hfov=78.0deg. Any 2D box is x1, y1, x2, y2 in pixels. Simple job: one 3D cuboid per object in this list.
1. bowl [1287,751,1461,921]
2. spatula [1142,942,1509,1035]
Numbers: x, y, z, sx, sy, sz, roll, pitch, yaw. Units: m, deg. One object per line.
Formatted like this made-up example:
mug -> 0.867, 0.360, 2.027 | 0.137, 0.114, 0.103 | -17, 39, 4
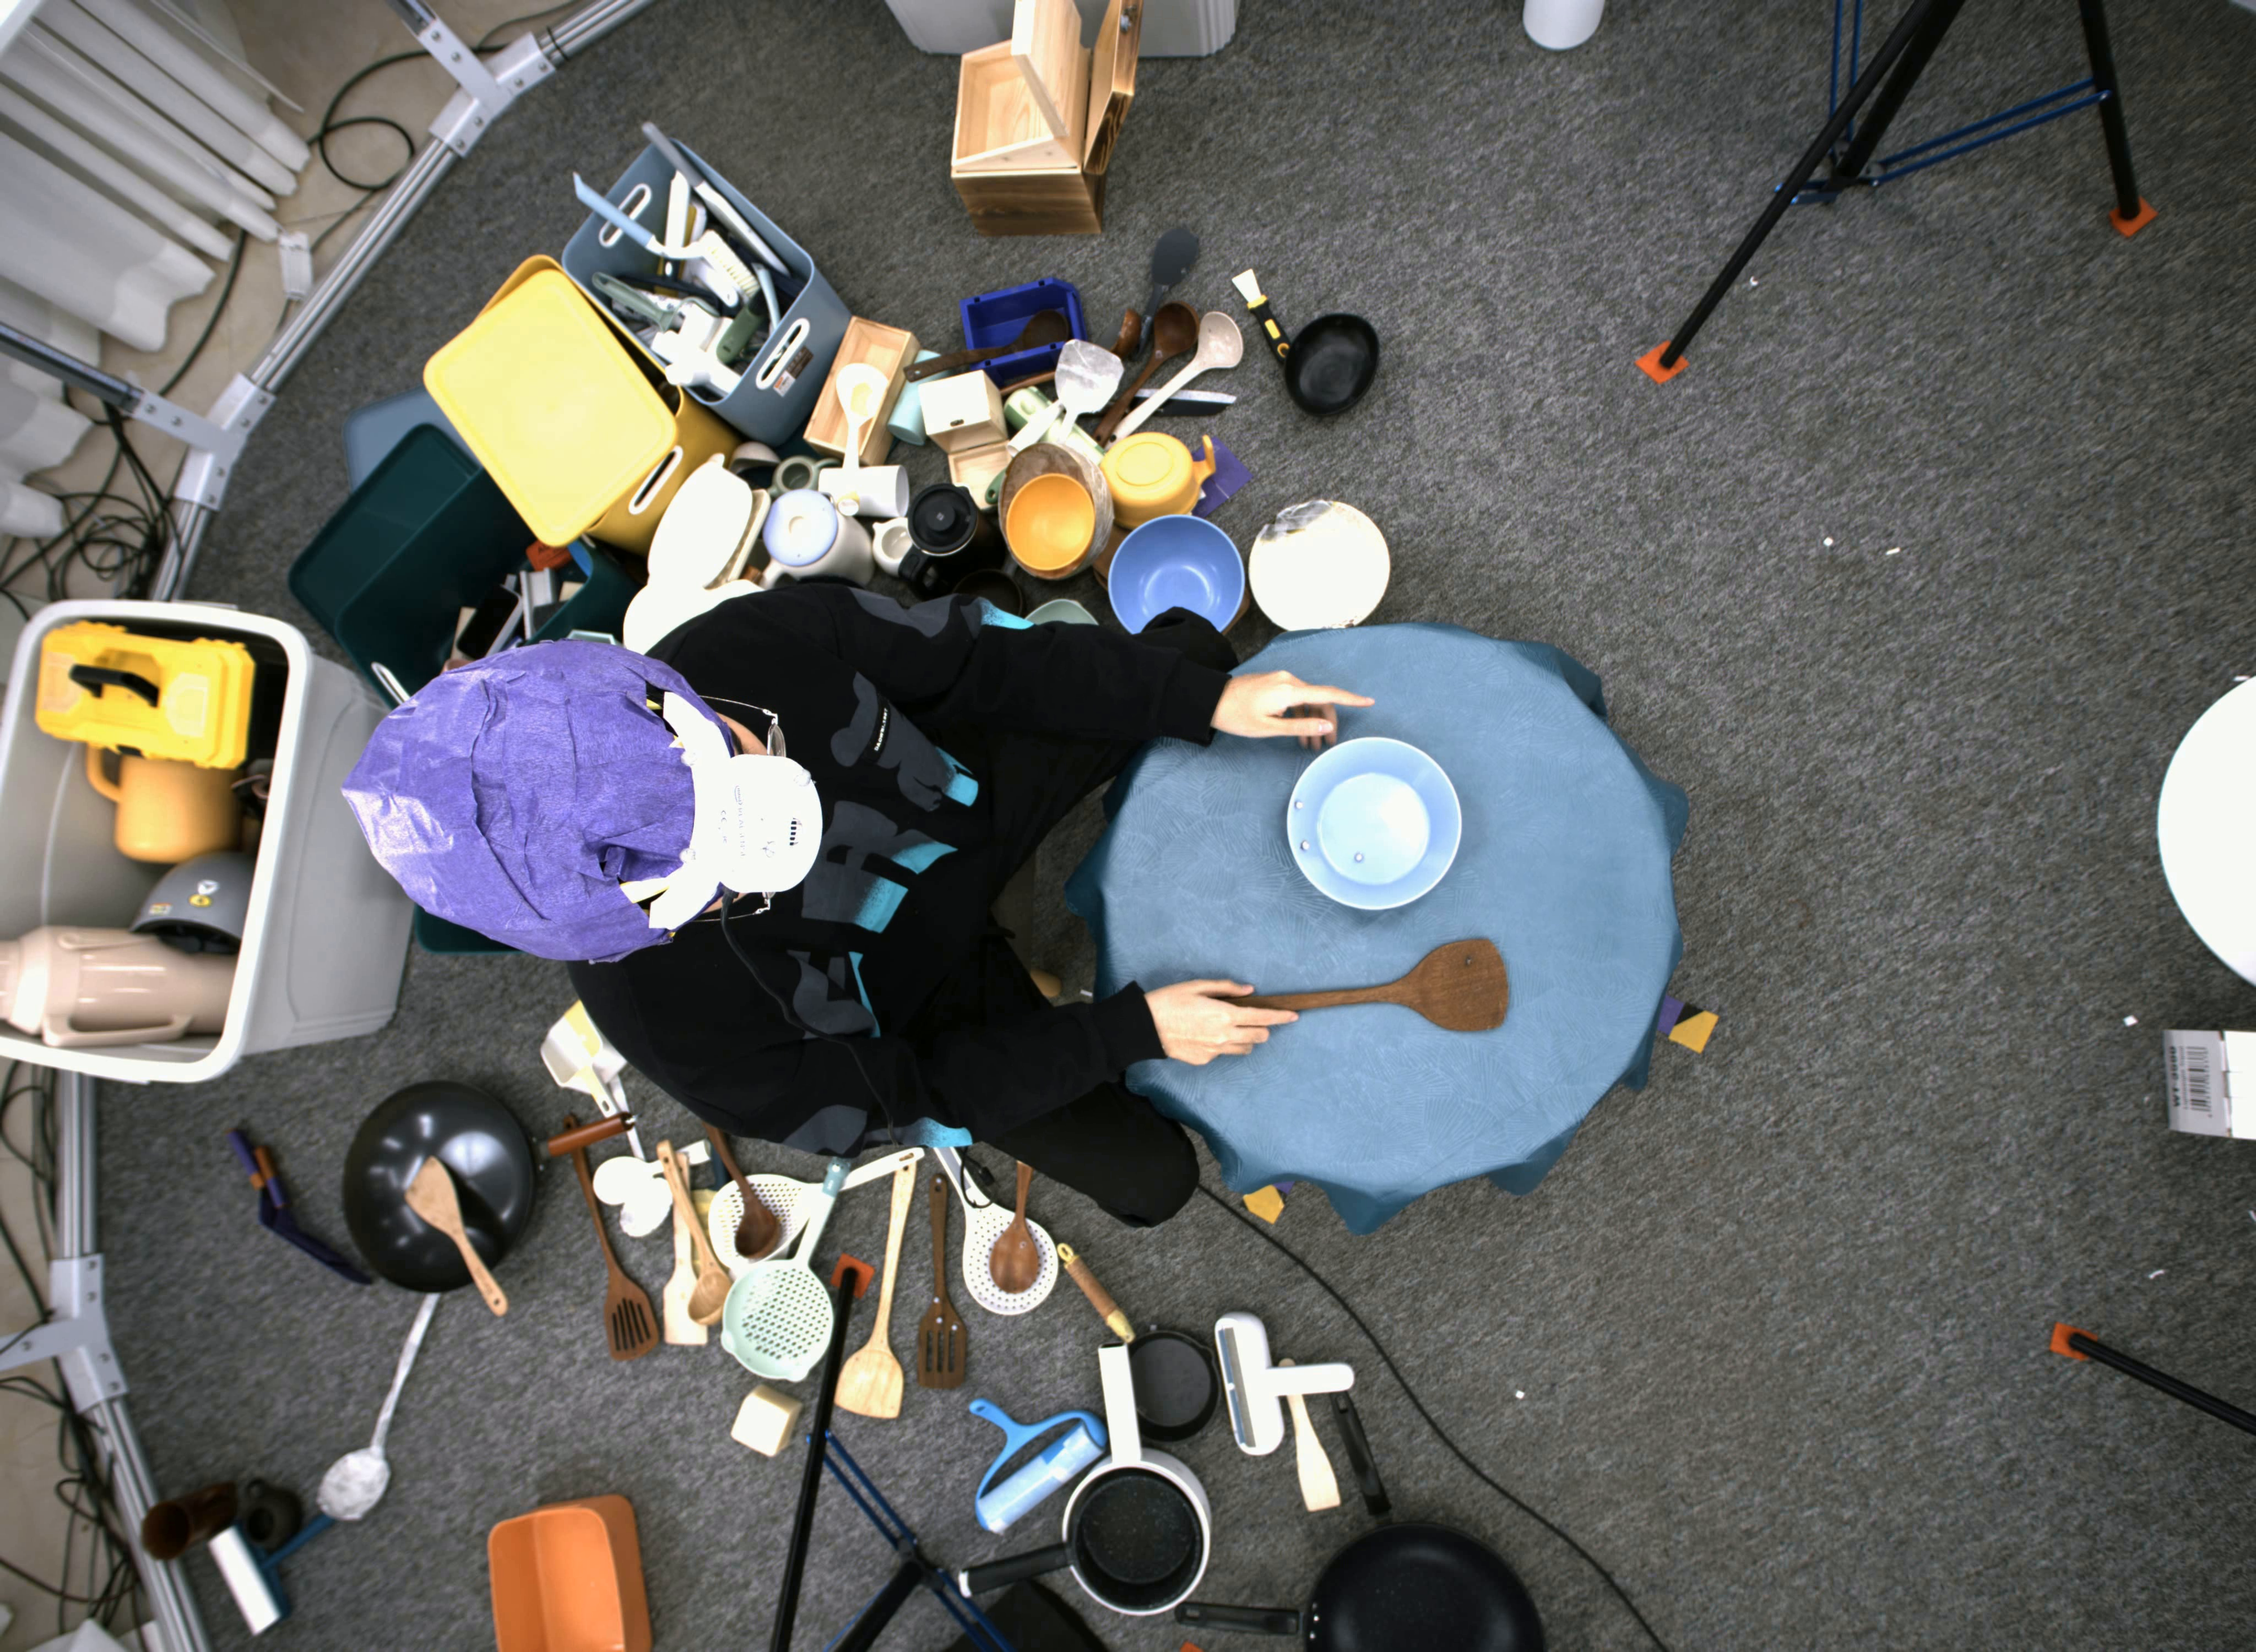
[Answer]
bowl -> 0.254, 0.012, 1.435 | 0.176, 0.070, 0.175 | -1, 86, 7
spatula -> 0.205, 0.185, 1.458 | 0.387, 0.016, 0.095 | -6, 85, 8
